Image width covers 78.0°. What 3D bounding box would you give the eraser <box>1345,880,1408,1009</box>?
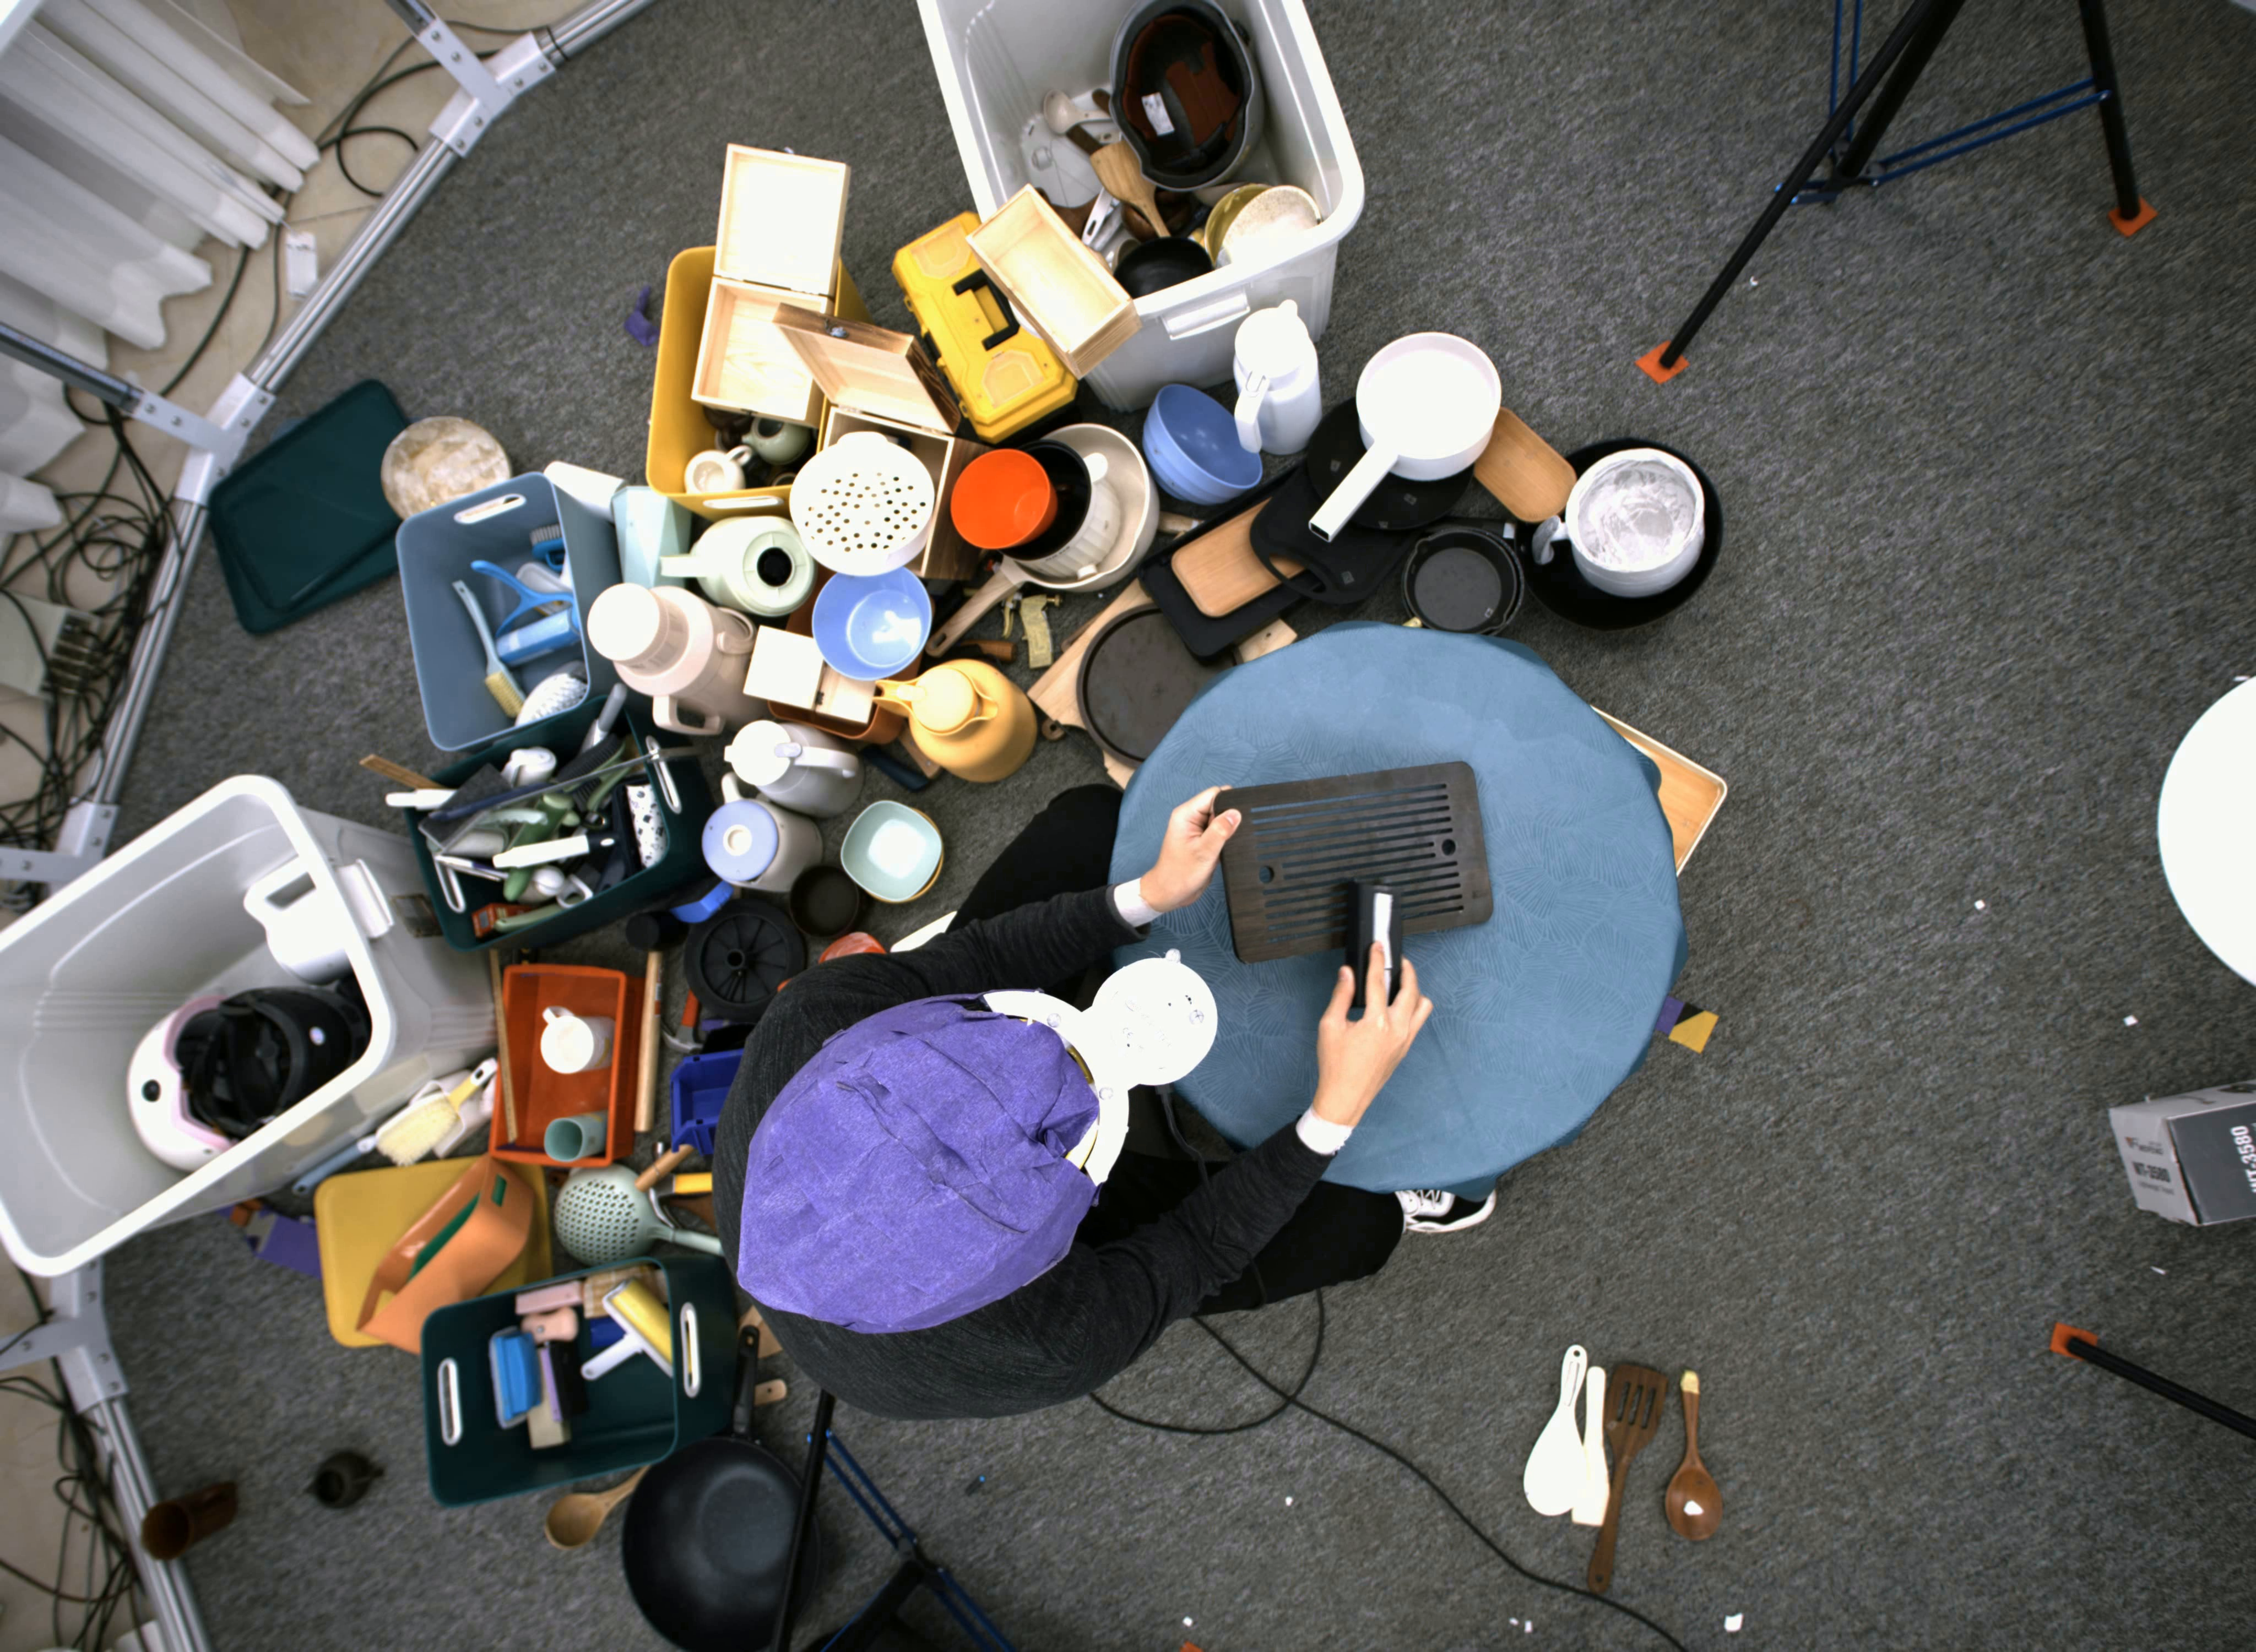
[{"bbox_3d":[0.245,0.115,1.363,0.053,0.030,0.125,4,88,-20],"label":"eraser"}]

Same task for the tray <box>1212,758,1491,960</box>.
[{"bbox_3d":[0.228,0.028,1.381,0.304,0.019,0.170,-8,91,-22],"label":"tray"}]
